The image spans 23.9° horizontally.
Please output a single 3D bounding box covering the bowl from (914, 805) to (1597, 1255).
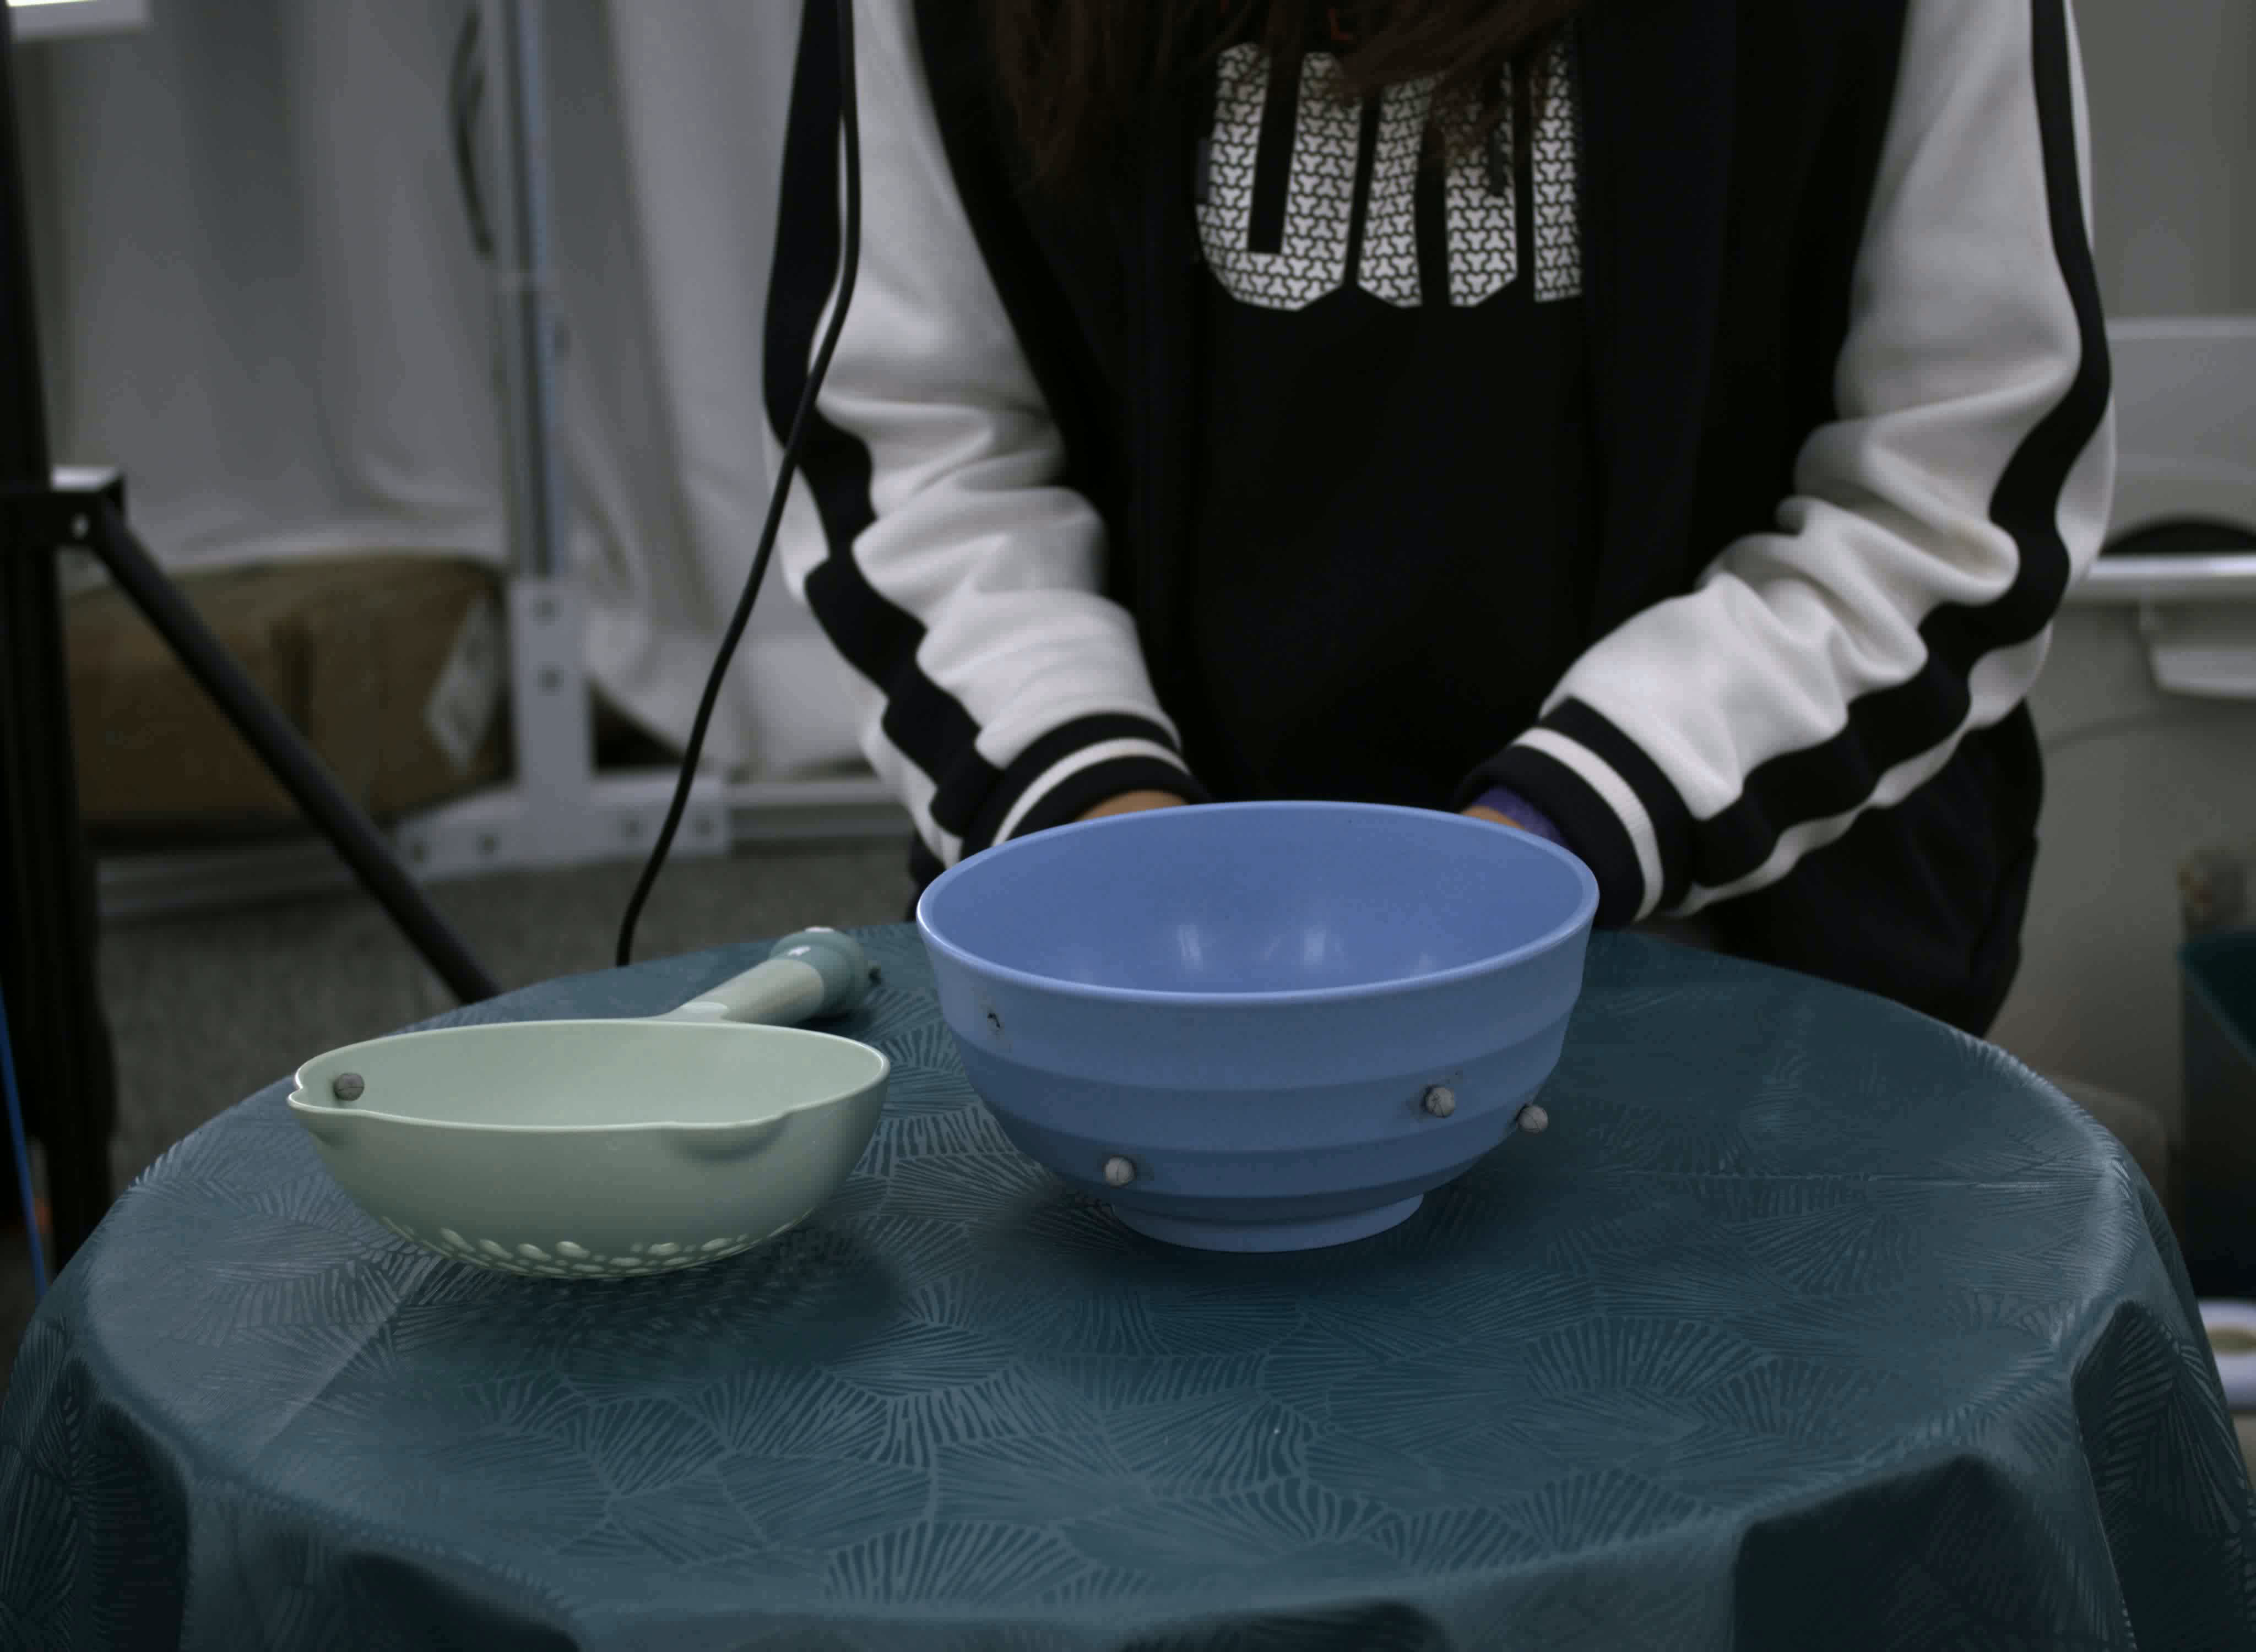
[{"bbox_3d":[0.038,0.064,1.533,0.195,0.095,0.197,-3,15,-1],"label":"bowl"}]

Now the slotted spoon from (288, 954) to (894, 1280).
[{"bbox_3d":[-0.129,0.072,1.603,0.170,0.075,0.356,2,14,13],"label":"slotted spoon"}]
